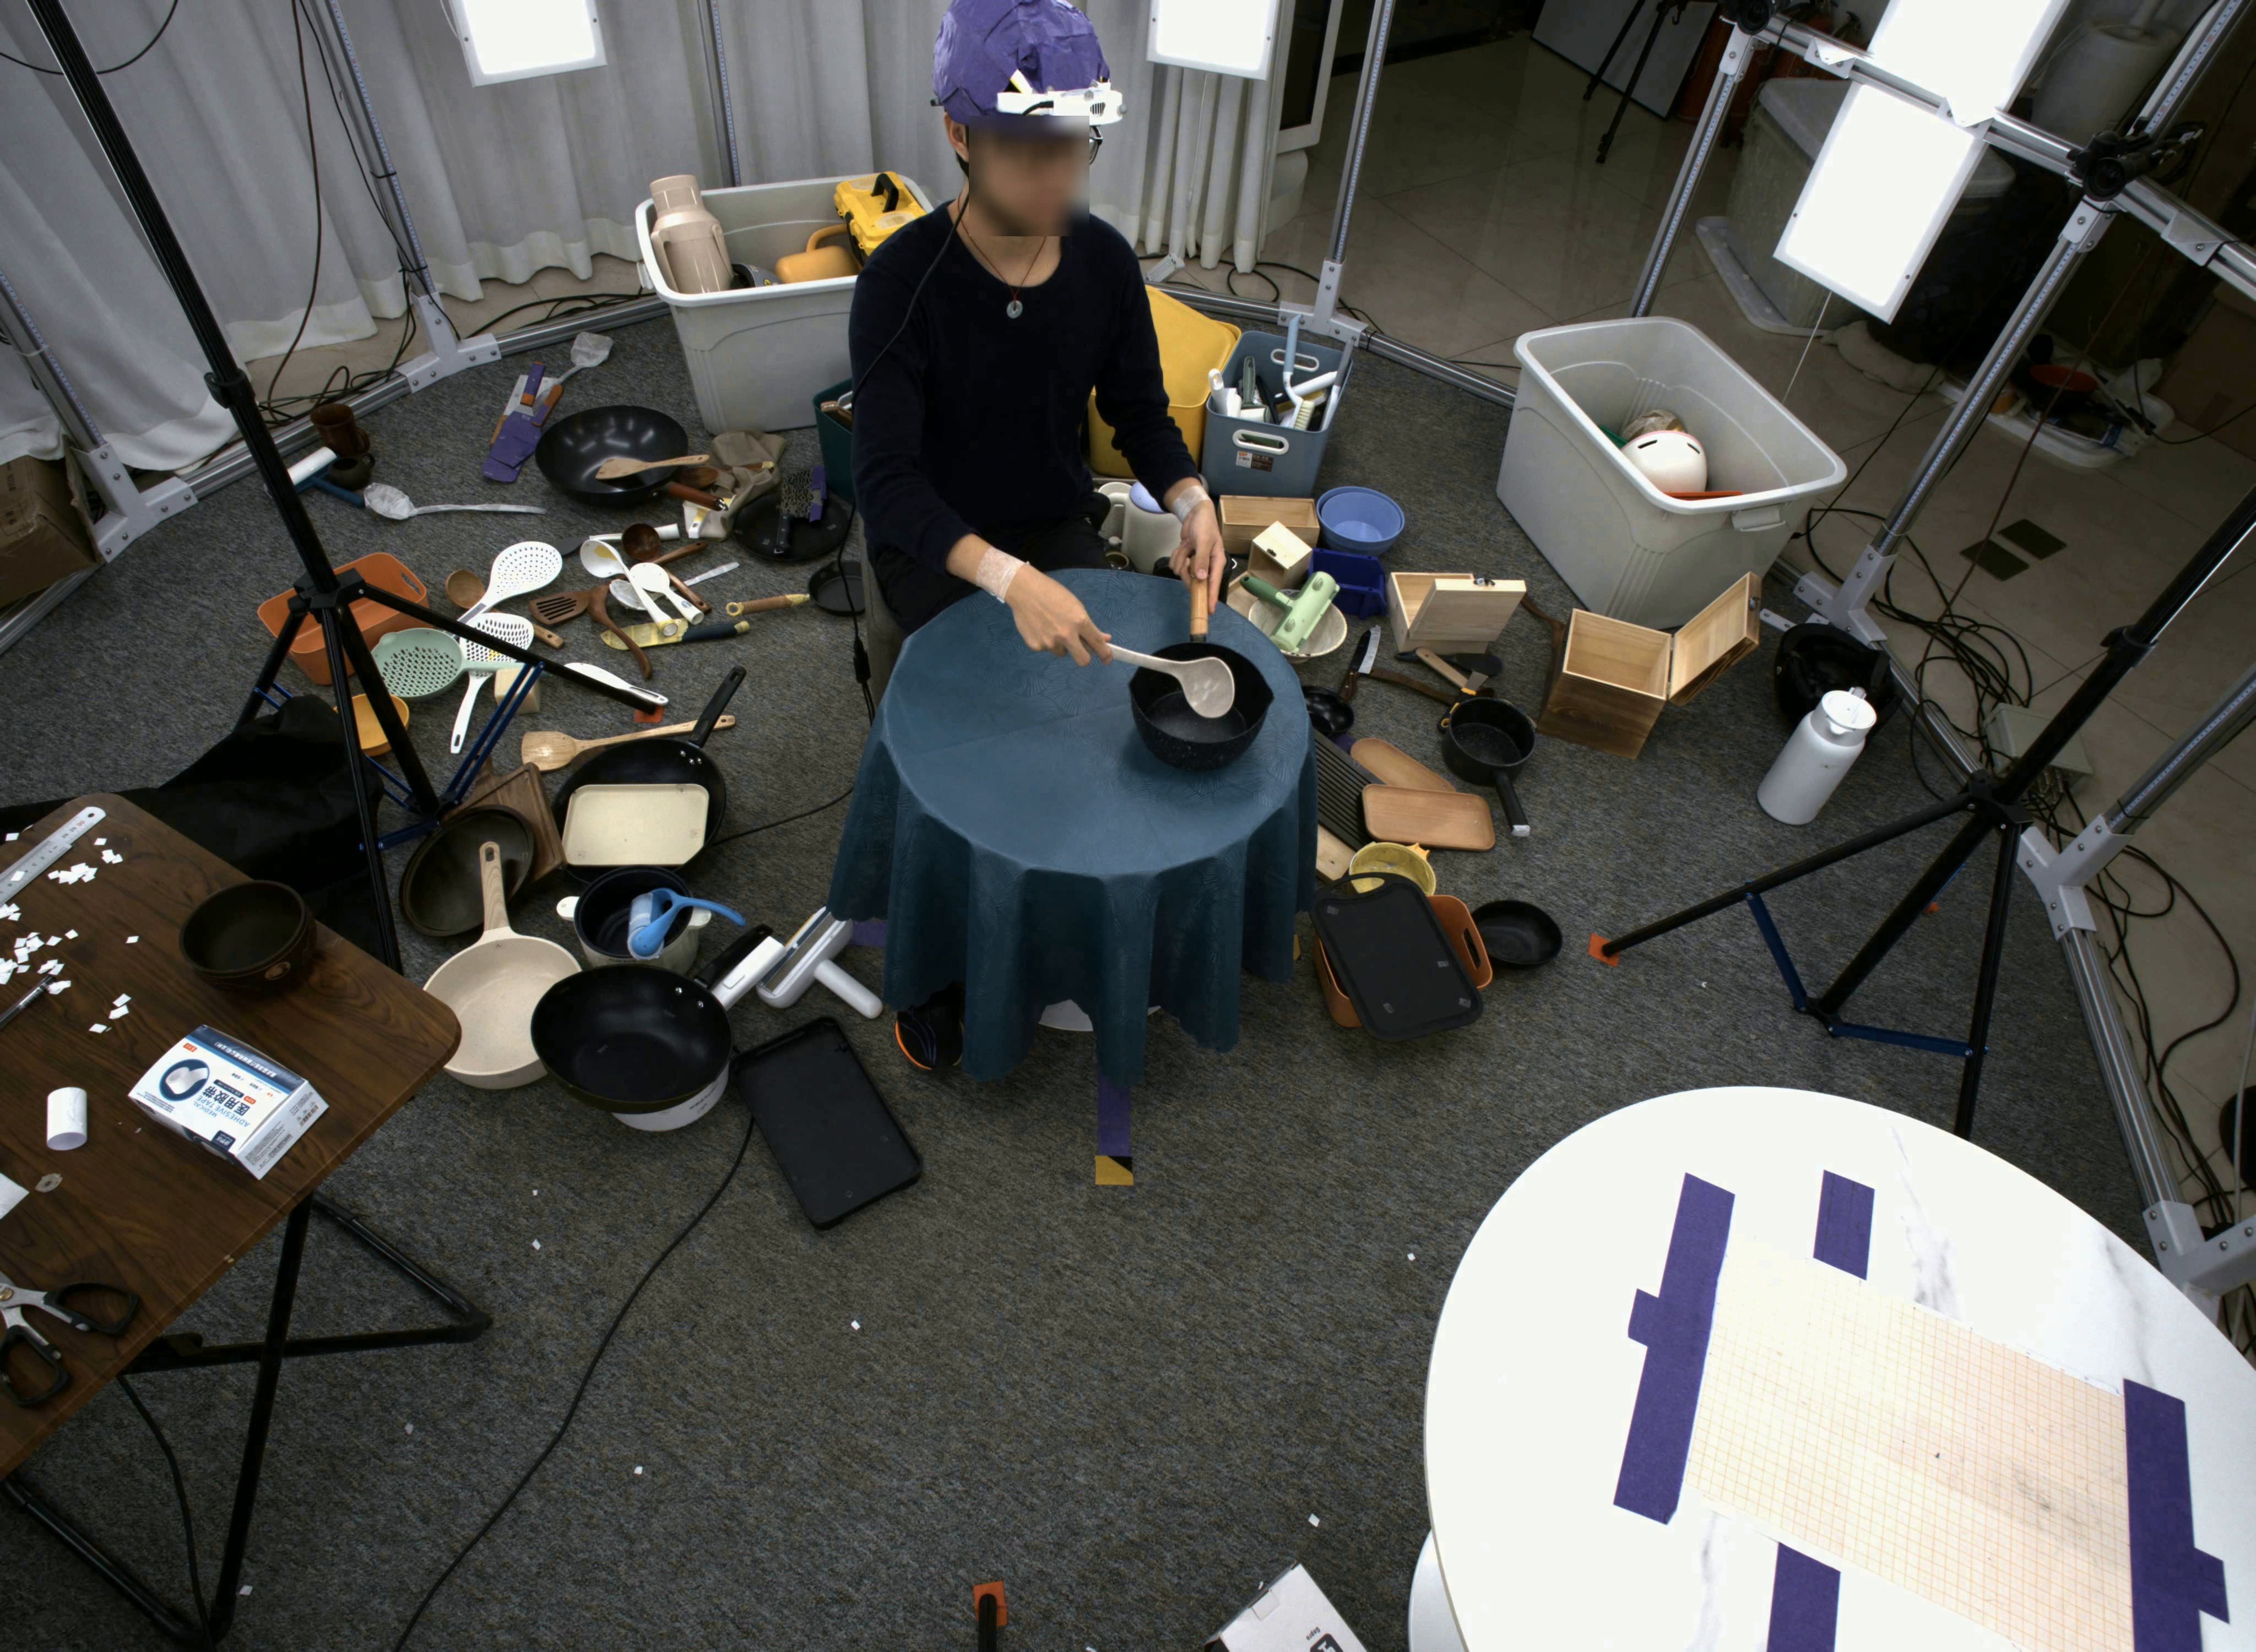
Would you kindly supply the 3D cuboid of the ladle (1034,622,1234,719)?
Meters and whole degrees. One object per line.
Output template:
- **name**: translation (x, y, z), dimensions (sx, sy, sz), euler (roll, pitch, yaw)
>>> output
- **ladle**: translation (0.008, -0.204, 1.667), dimensions (0.273, 0.088, 0.071), euler (12, 52, -20)

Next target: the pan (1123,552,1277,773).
- **pan**: translation (0.096, -0.228, 1.794), dimensions (0.207, 0.105, 0.351), euler (1, 53, -2)
